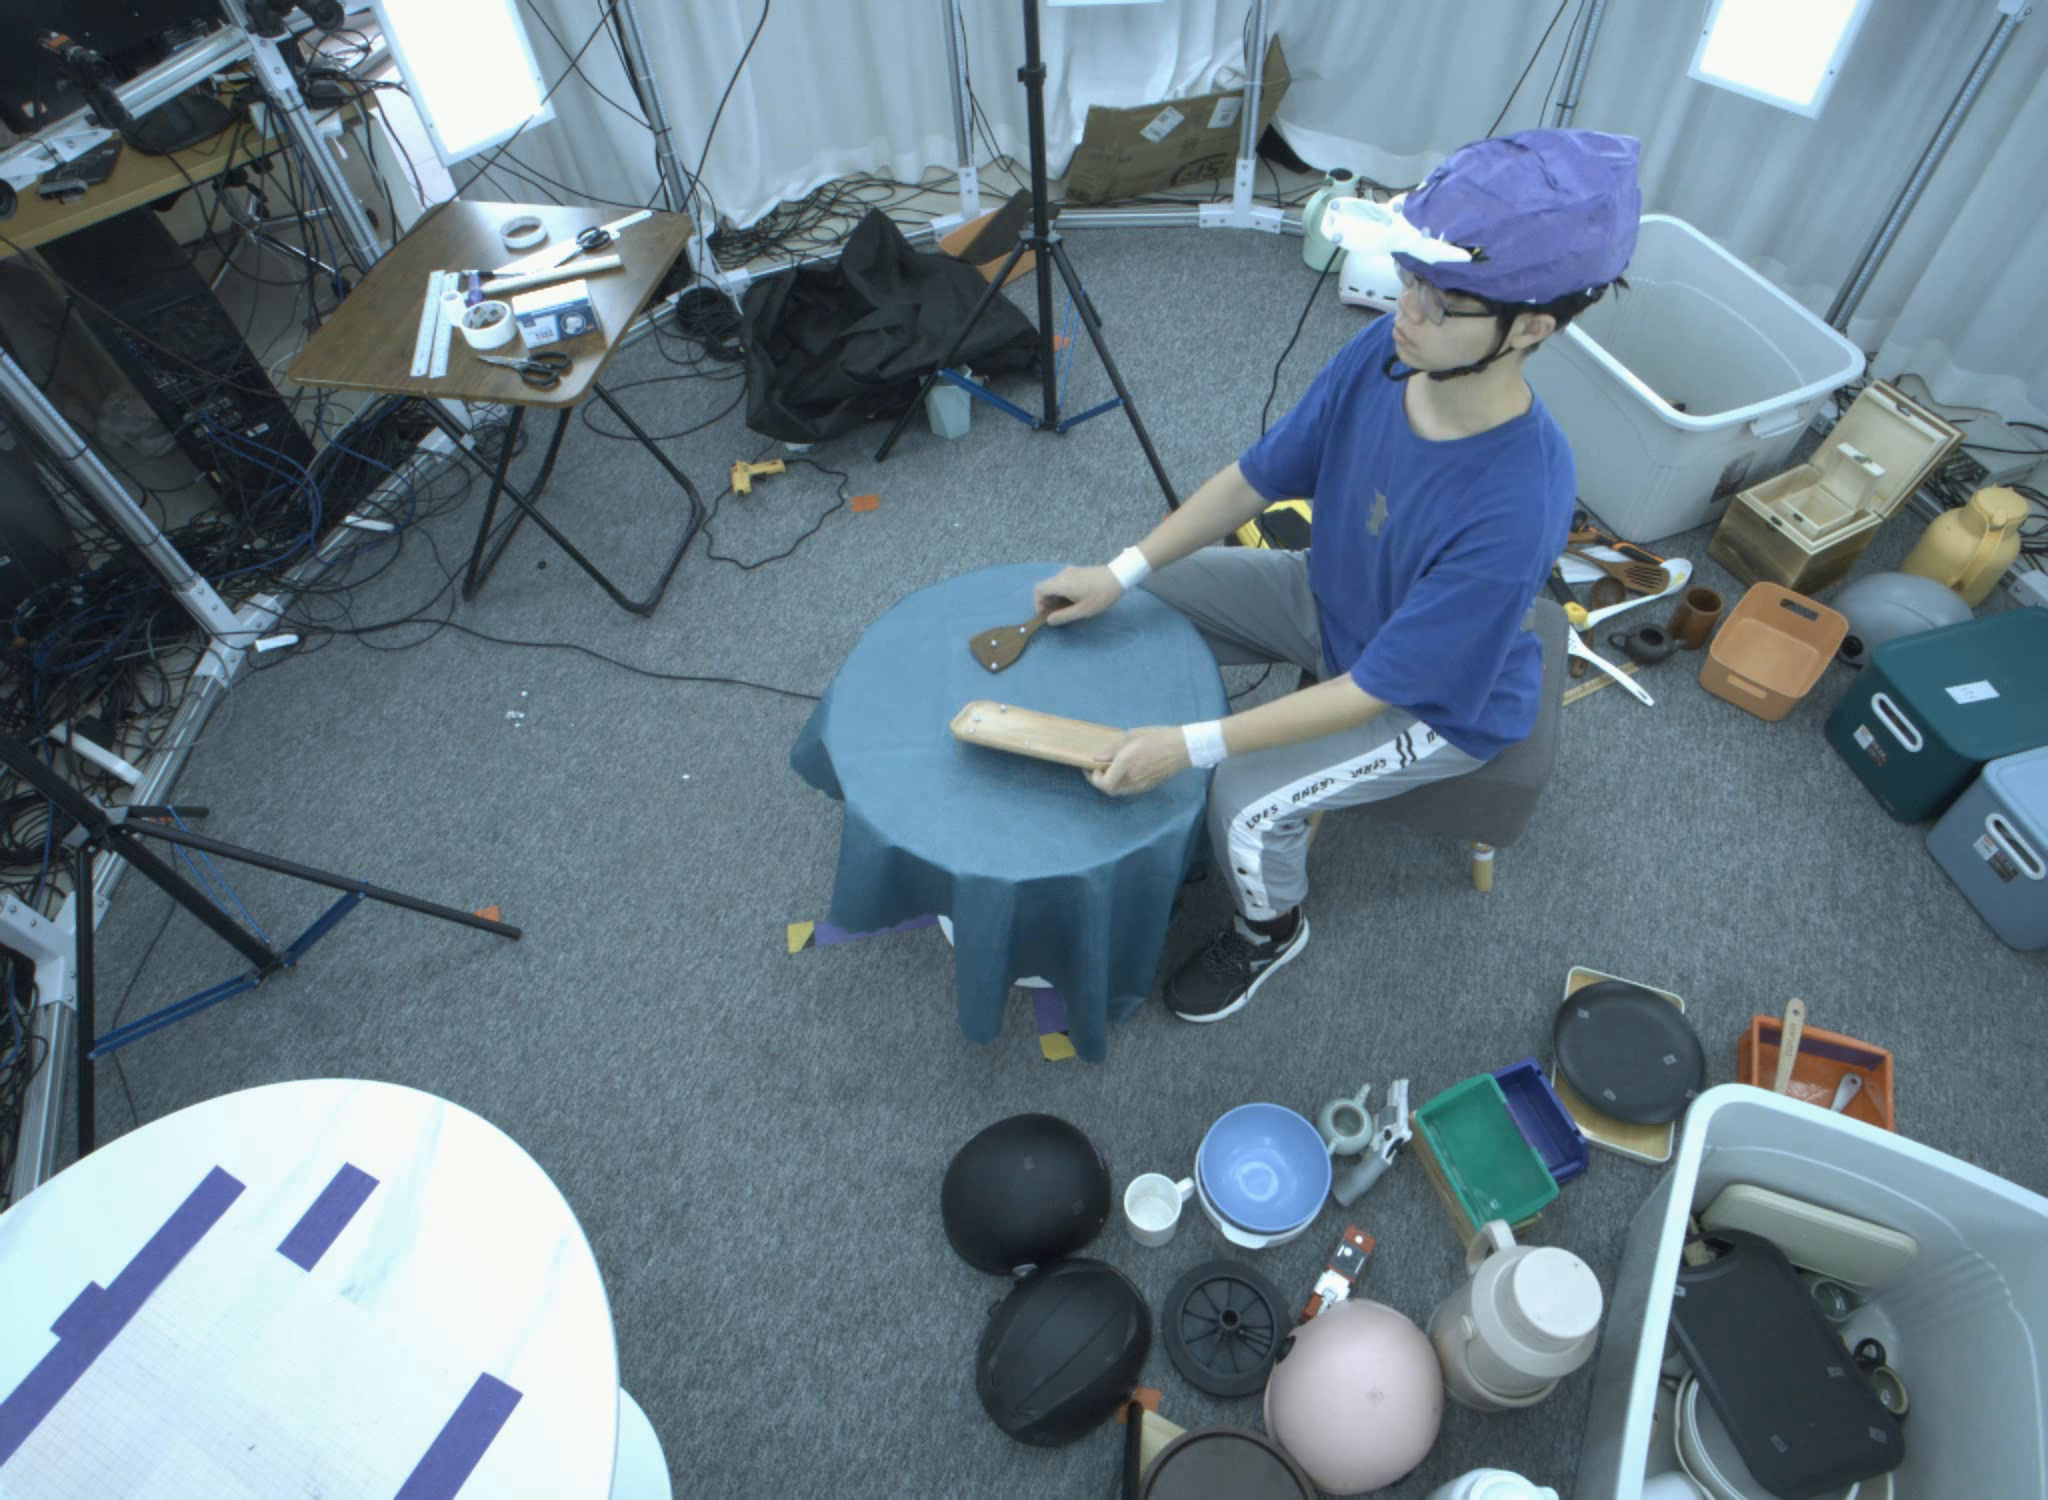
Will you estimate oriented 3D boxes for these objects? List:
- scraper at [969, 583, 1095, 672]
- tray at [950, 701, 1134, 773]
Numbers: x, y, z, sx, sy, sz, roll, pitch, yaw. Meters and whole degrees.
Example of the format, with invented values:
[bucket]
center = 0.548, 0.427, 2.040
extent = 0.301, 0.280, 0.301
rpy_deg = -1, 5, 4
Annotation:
[scraper]
center = 0.017, -0.195, 1.893
extent = 0.212, 0.011, 0.074
rpy_deg = -33, 66, -9
[tray]
center = 0.026, -0.020, 1.748
extent = 0.248, 0.023, 0.131
rpy_deg = 13, 30, 12
